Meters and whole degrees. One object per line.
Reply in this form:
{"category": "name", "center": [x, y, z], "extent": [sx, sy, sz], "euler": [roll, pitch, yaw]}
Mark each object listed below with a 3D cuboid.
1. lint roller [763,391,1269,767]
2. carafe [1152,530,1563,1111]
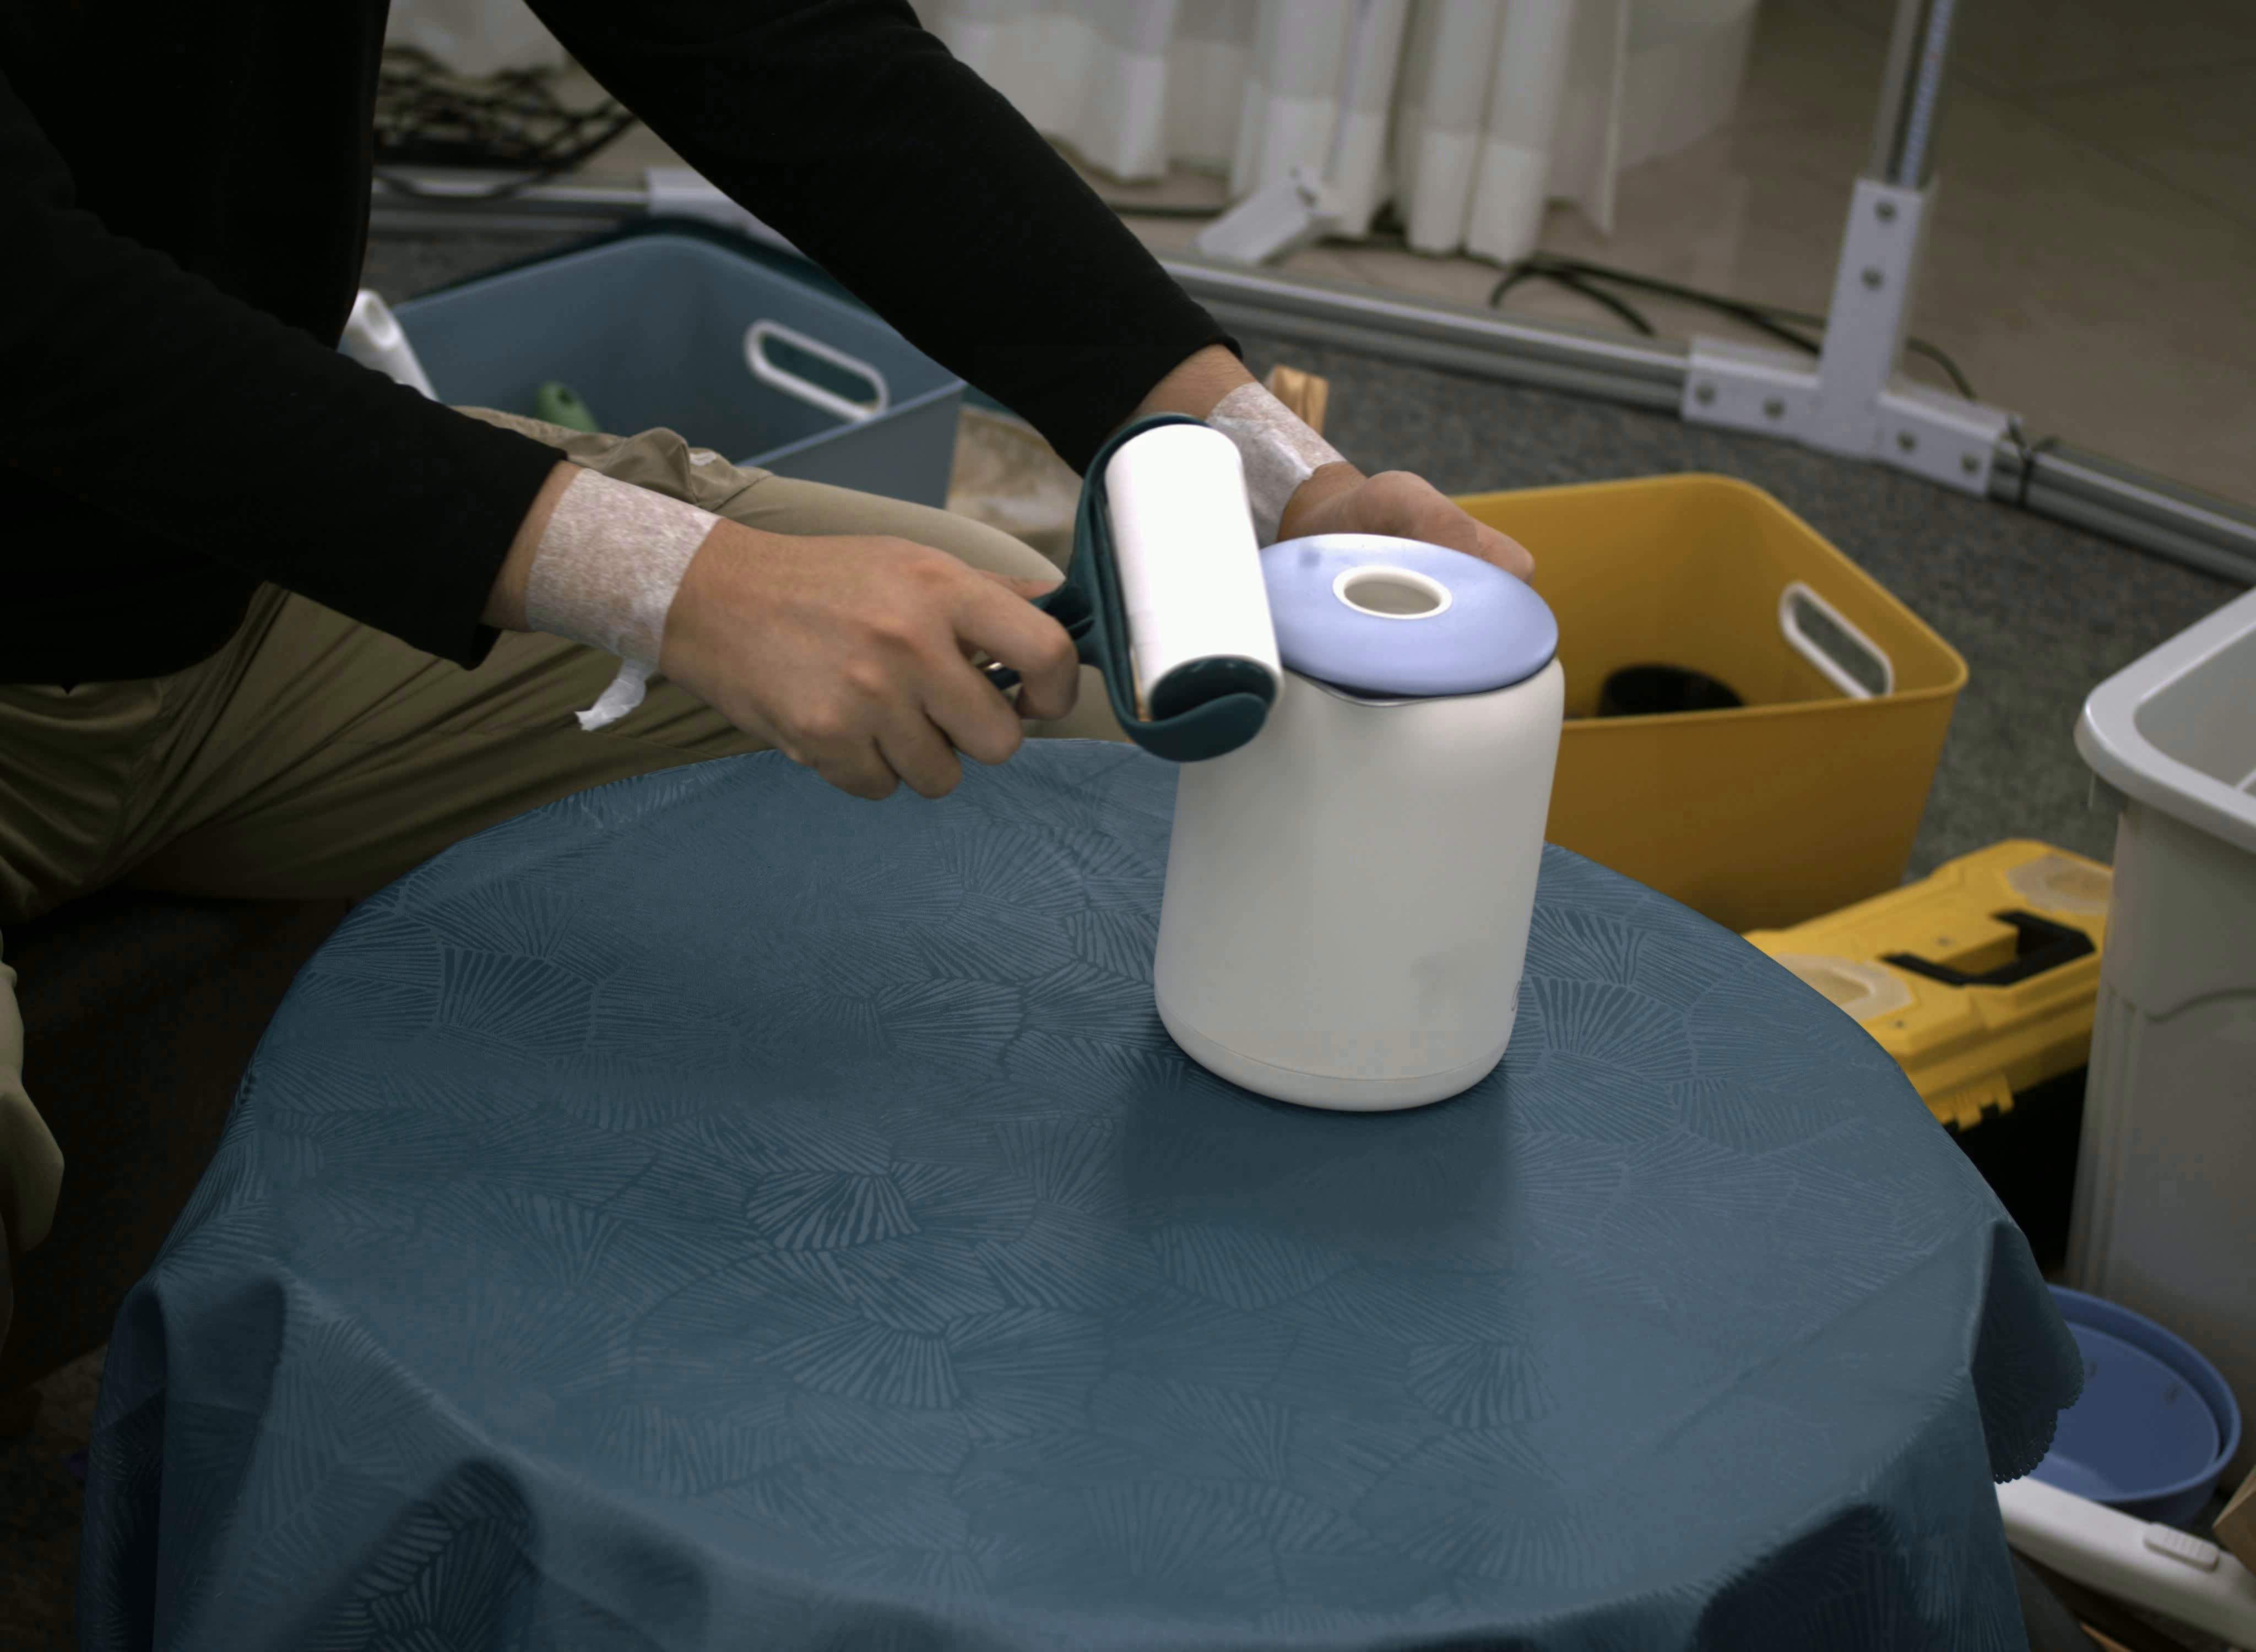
{"category": "lint roller", "center": [-0.046, -0.064, 1.792], "extent": [0.180, 0.048, 0.135], "euler": [-16, 52, 10]}
{"category": "carafe", "center": [0.084, -0.013, 1.899], "extent": [0.132, 0.182, 0.192], "euler": [9, 25, 4]}
